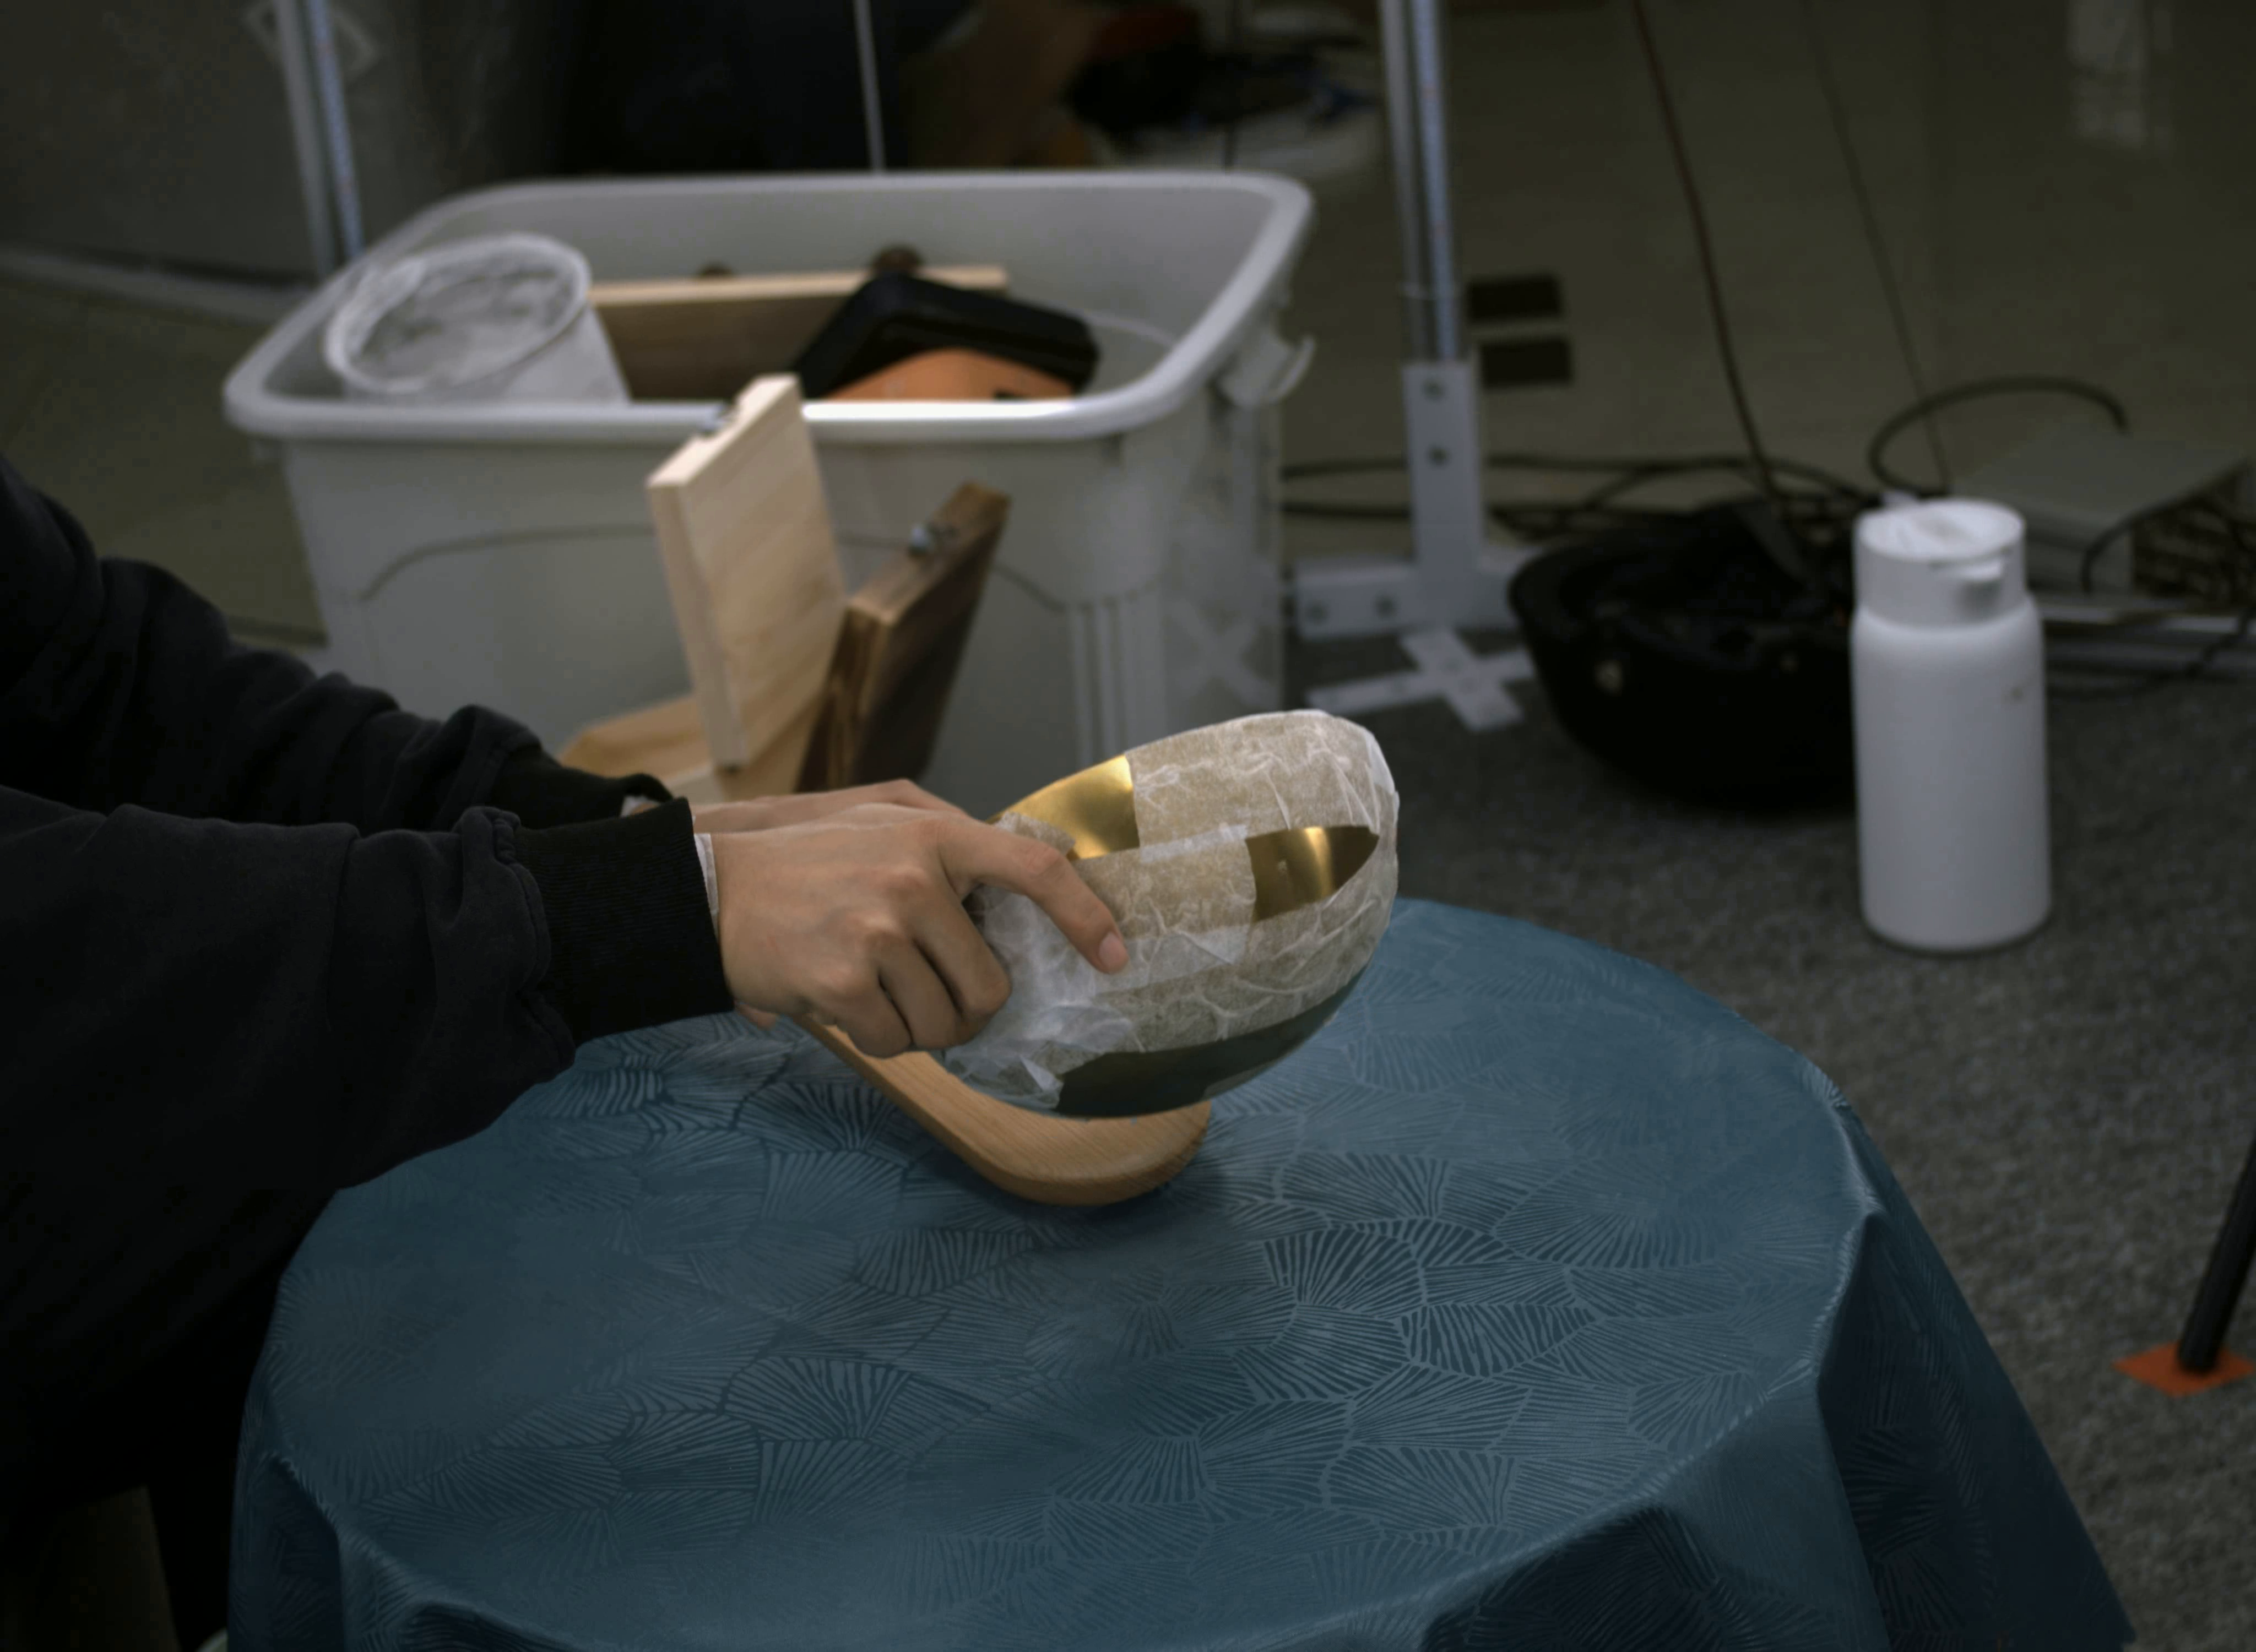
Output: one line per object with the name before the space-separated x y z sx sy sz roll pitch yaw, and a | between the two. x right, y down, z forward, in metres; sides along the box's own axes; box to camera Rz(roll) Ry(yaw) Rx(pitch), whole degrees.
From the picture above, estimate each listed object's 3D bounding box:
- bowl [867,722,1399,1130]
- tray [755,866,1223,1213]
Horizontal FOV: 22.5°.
bowl | 0.013 0.053 2.049 0.214 0.217 0.094 -17 71 -22
tray | -0.056 0.082 2.214 0.101 0.021 0.228 -29 48 -29
